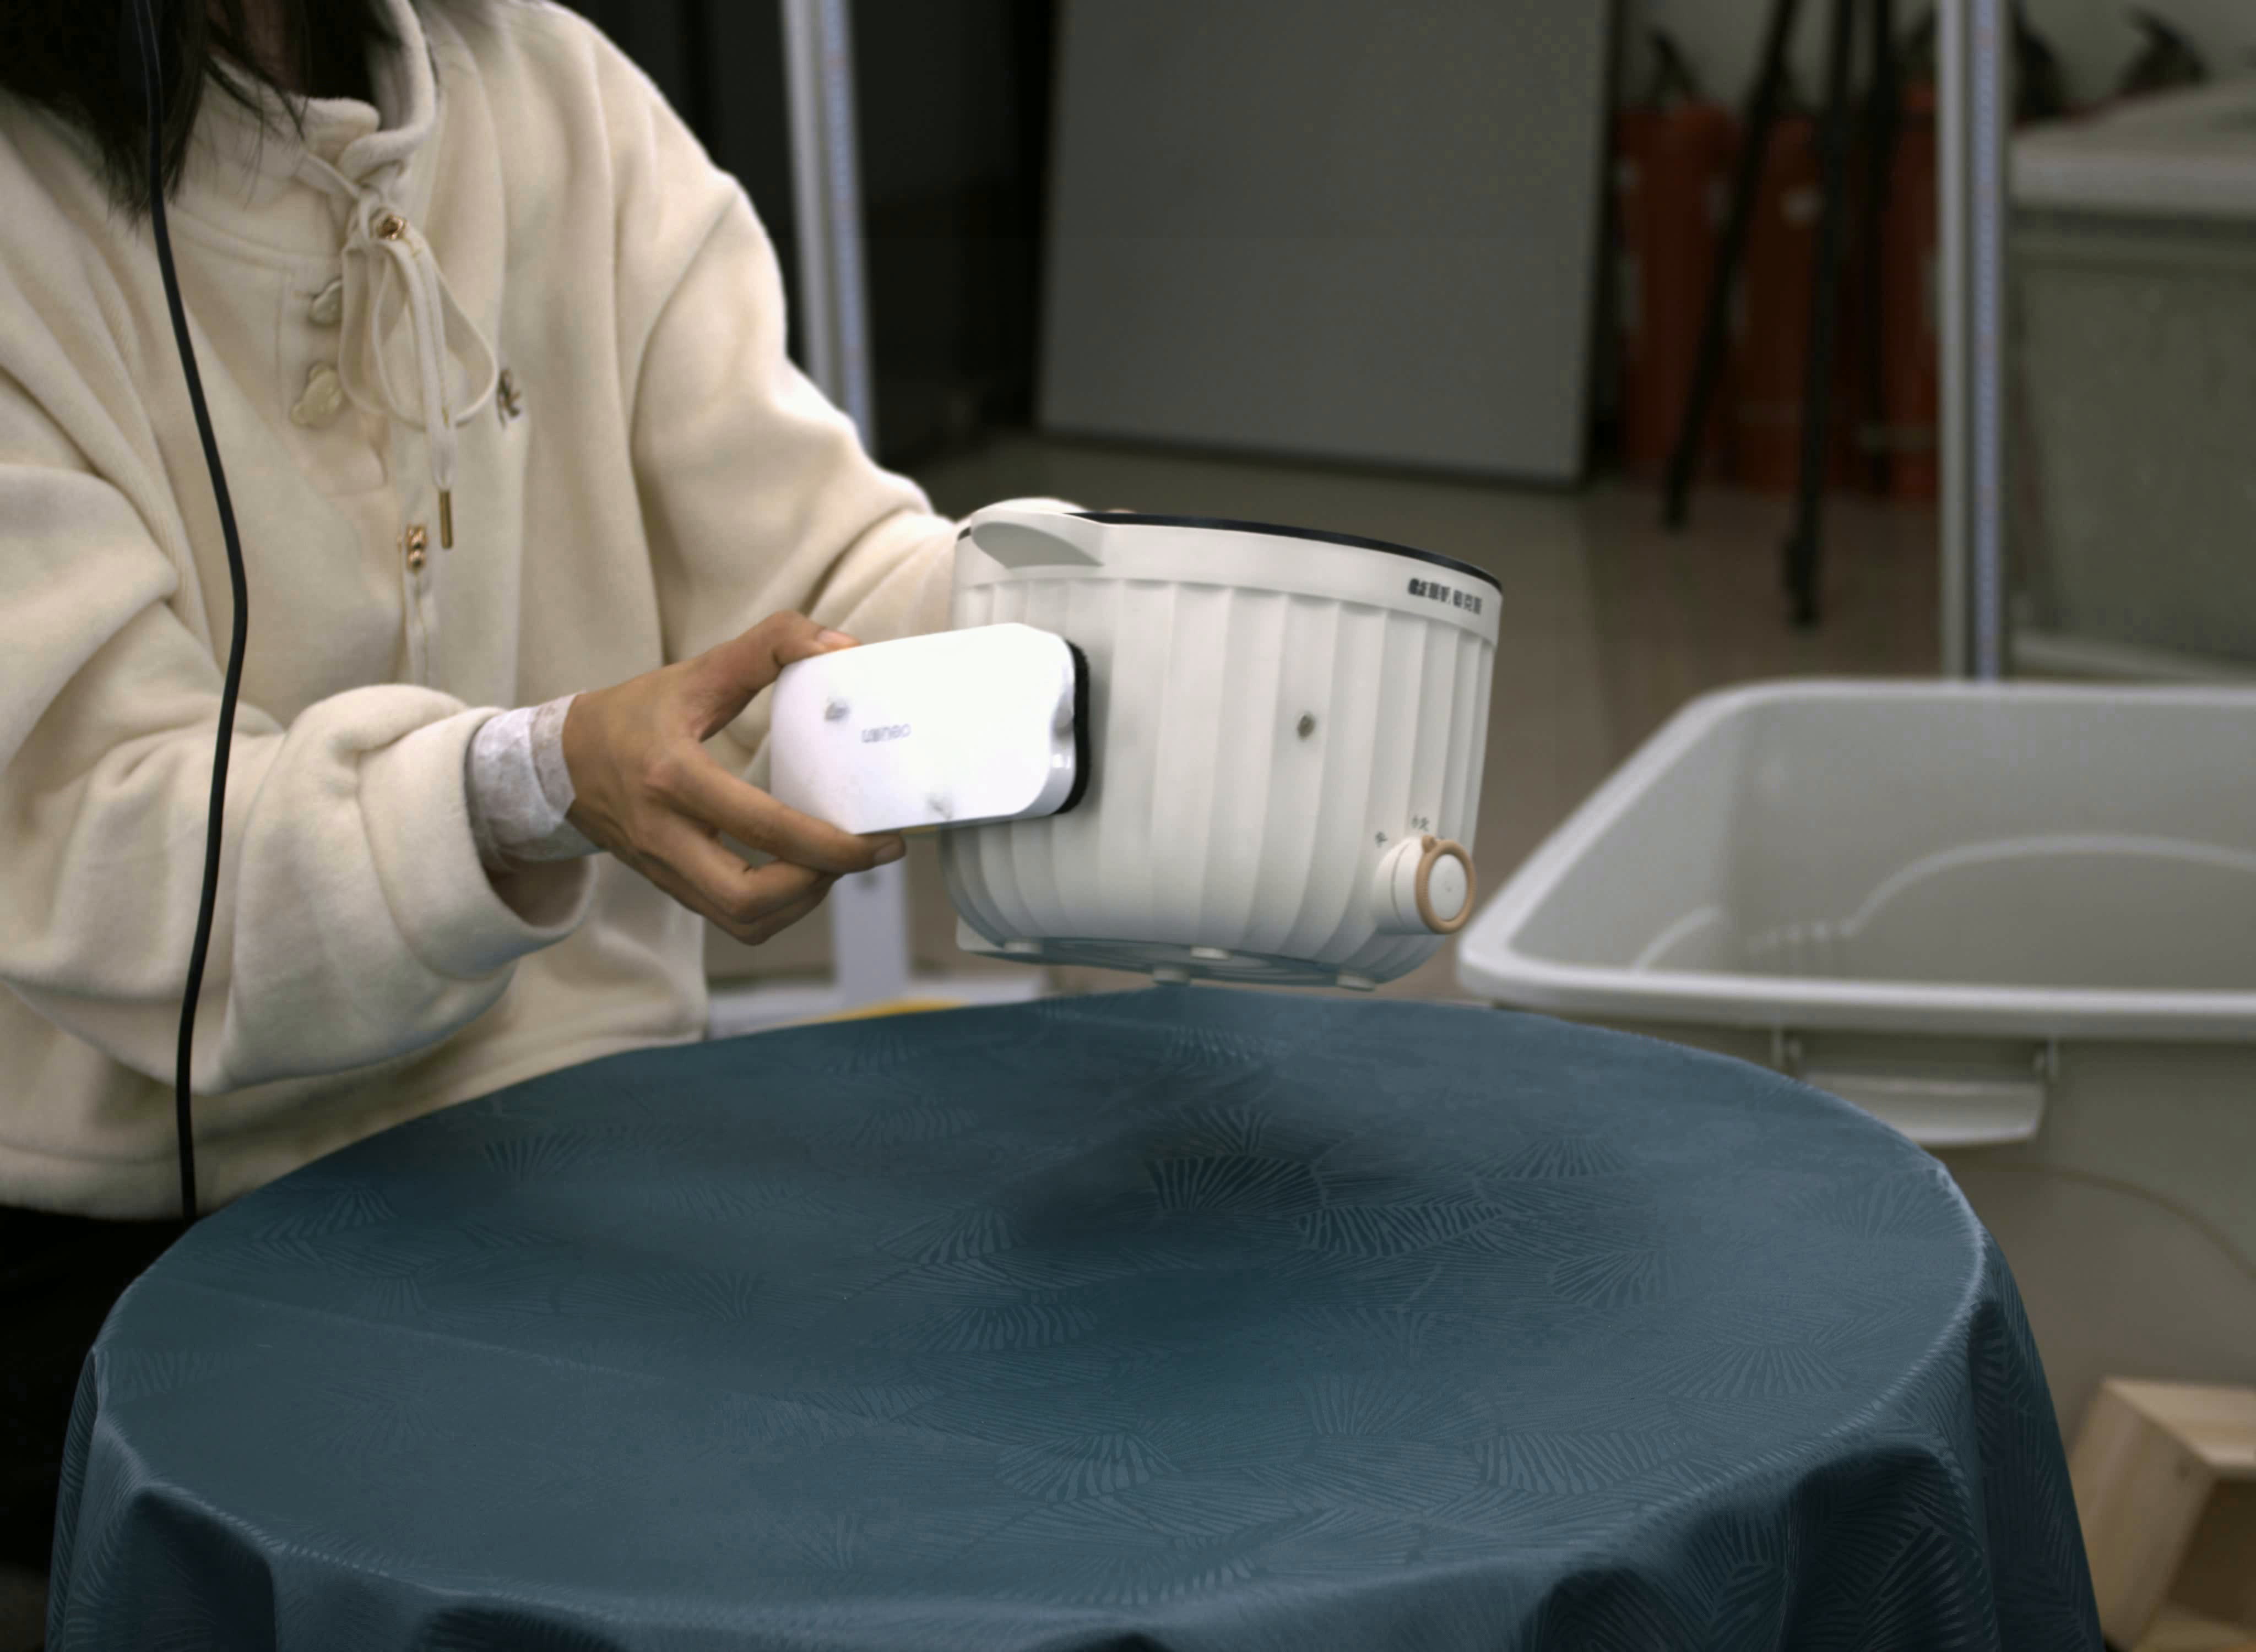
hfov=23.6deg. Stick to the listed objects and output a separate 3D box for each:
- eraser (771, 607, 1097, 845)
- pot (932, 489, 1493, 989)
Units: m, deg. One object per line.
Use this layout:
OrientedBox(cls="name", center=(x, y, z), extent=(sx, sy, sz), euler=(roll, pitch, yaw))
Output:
OrientedBox(cls="eraser", center=(-0.064, -0.031, 1.700), extent=(0.034, 0.064, 0.132), euler=(11, -14, -43))
OrientedBox(cls="pot", center=(0.030, -0.022, 1.751), extent=(0.192, 0.144, 0.235), euler=(-4, -11, 39))
